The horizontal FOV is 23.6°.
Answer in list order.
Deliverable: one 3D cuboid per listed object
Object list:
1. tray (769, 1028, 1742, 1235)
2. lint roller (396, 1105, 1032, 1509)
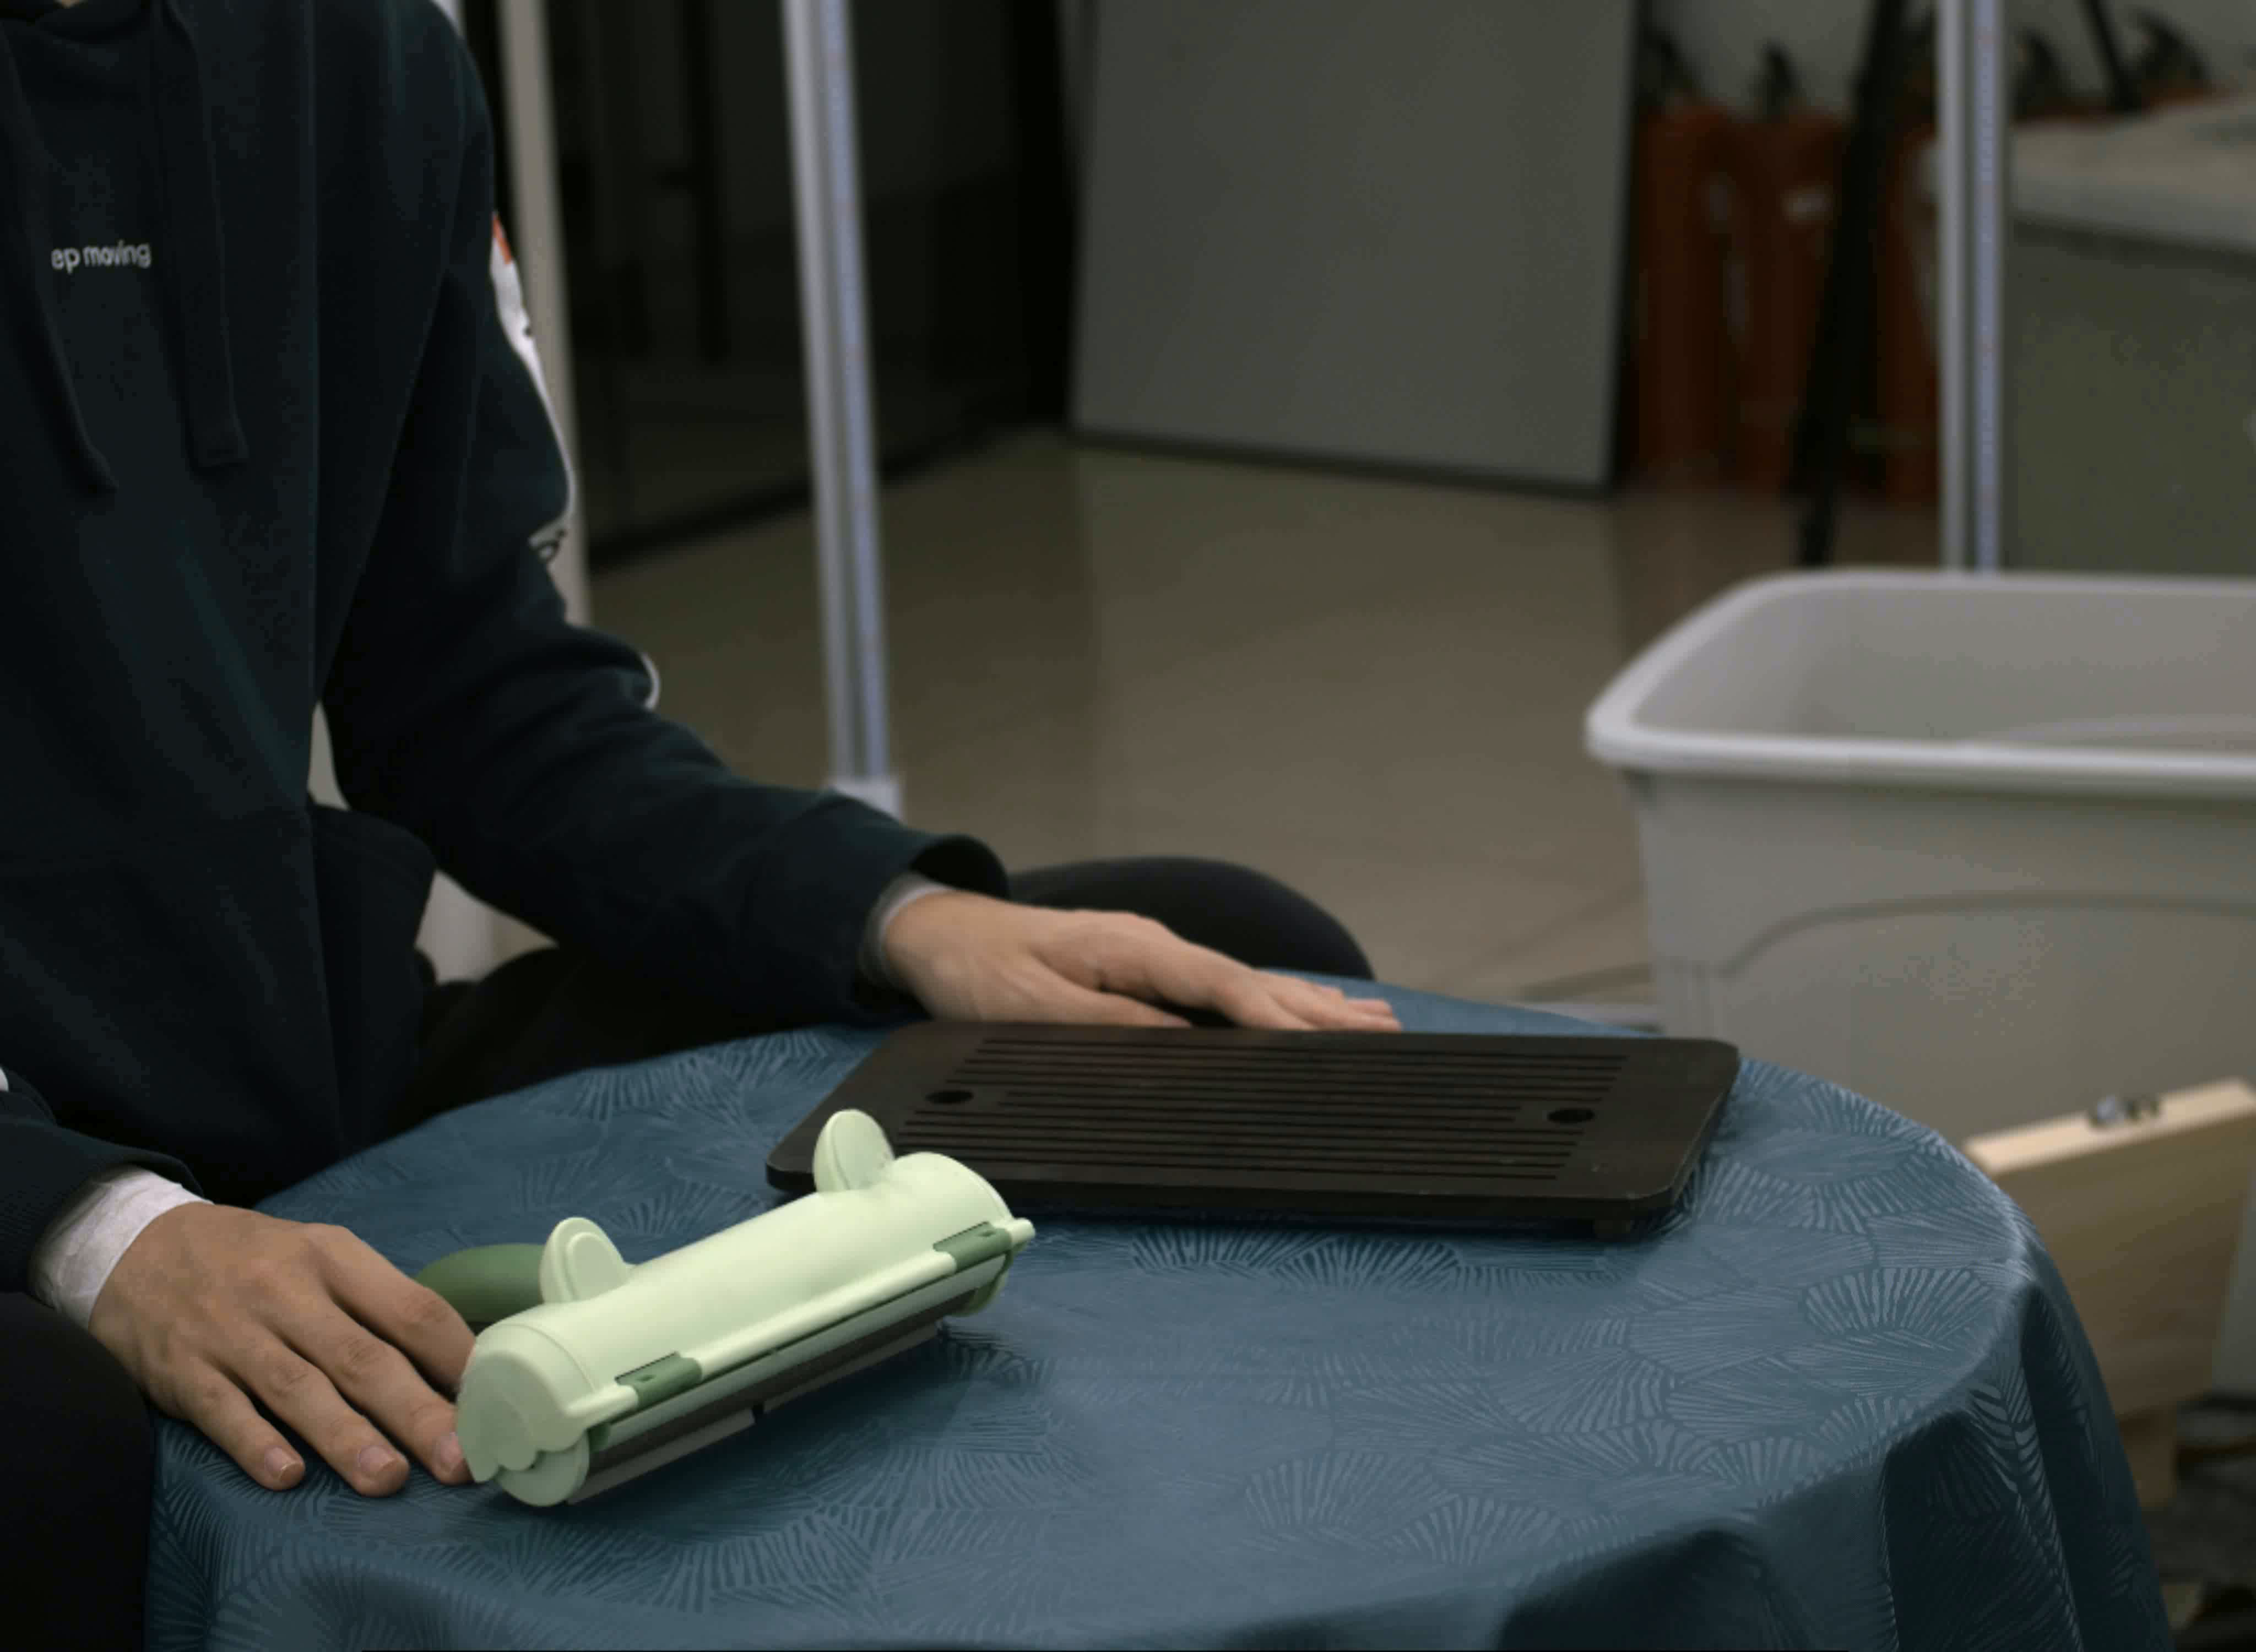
[{"bbox_3d":[0.046,0.101,1.802,0.305,0.019,0.169,0,15,17],"label":"tray"},{"bbox_3d":[-0.155,0.129,1.614,0.185,0.083,0.195,12,21,39],"label":"lint roller"}]
